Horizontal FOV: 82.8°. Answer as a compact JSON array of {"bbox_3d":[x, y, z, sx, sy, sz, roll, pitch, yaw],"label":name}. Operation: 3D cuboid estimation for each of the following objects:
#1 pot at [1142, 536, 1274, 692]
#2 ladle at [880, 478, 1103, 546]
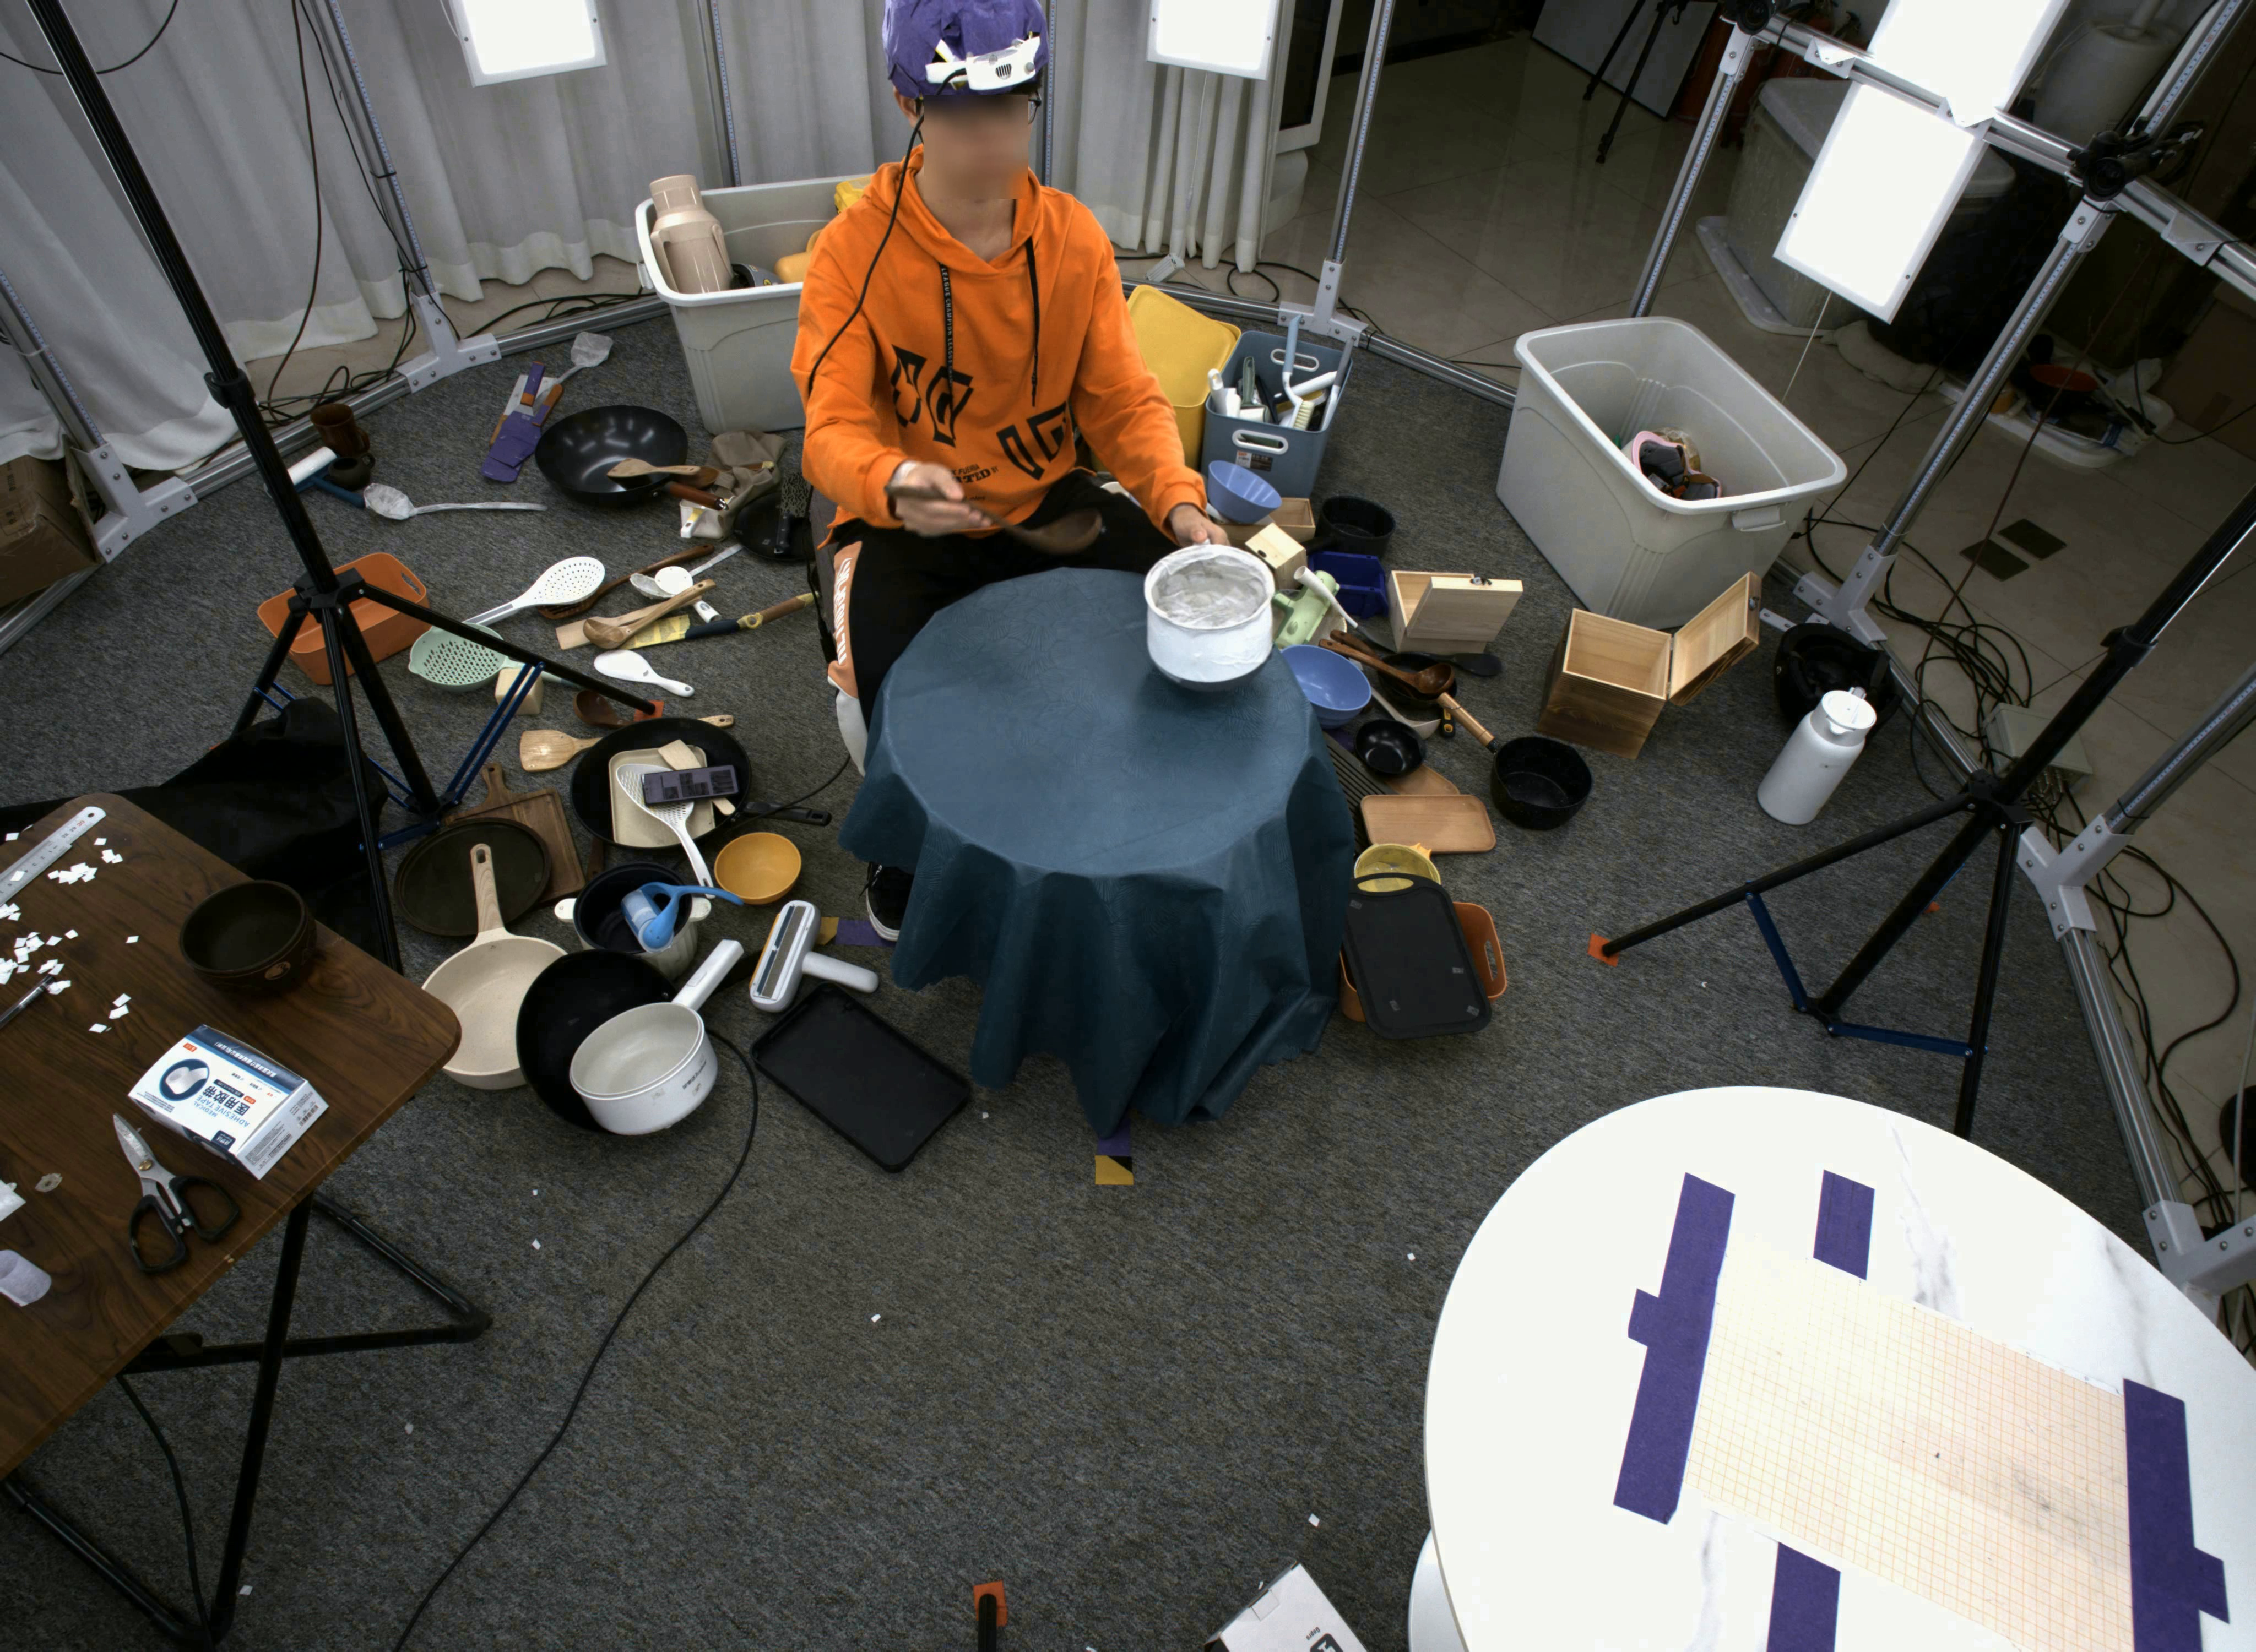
[{"bbox_3d":[0.109,-0.306,1.803,0.178,0.133,0.239,-5,49,-1],"label":"pot"},{"bbox_3d":[-0.159,-0.402,1.574,0.271,0.070,0.077,14,21,-27],"label":"ladle"}]
